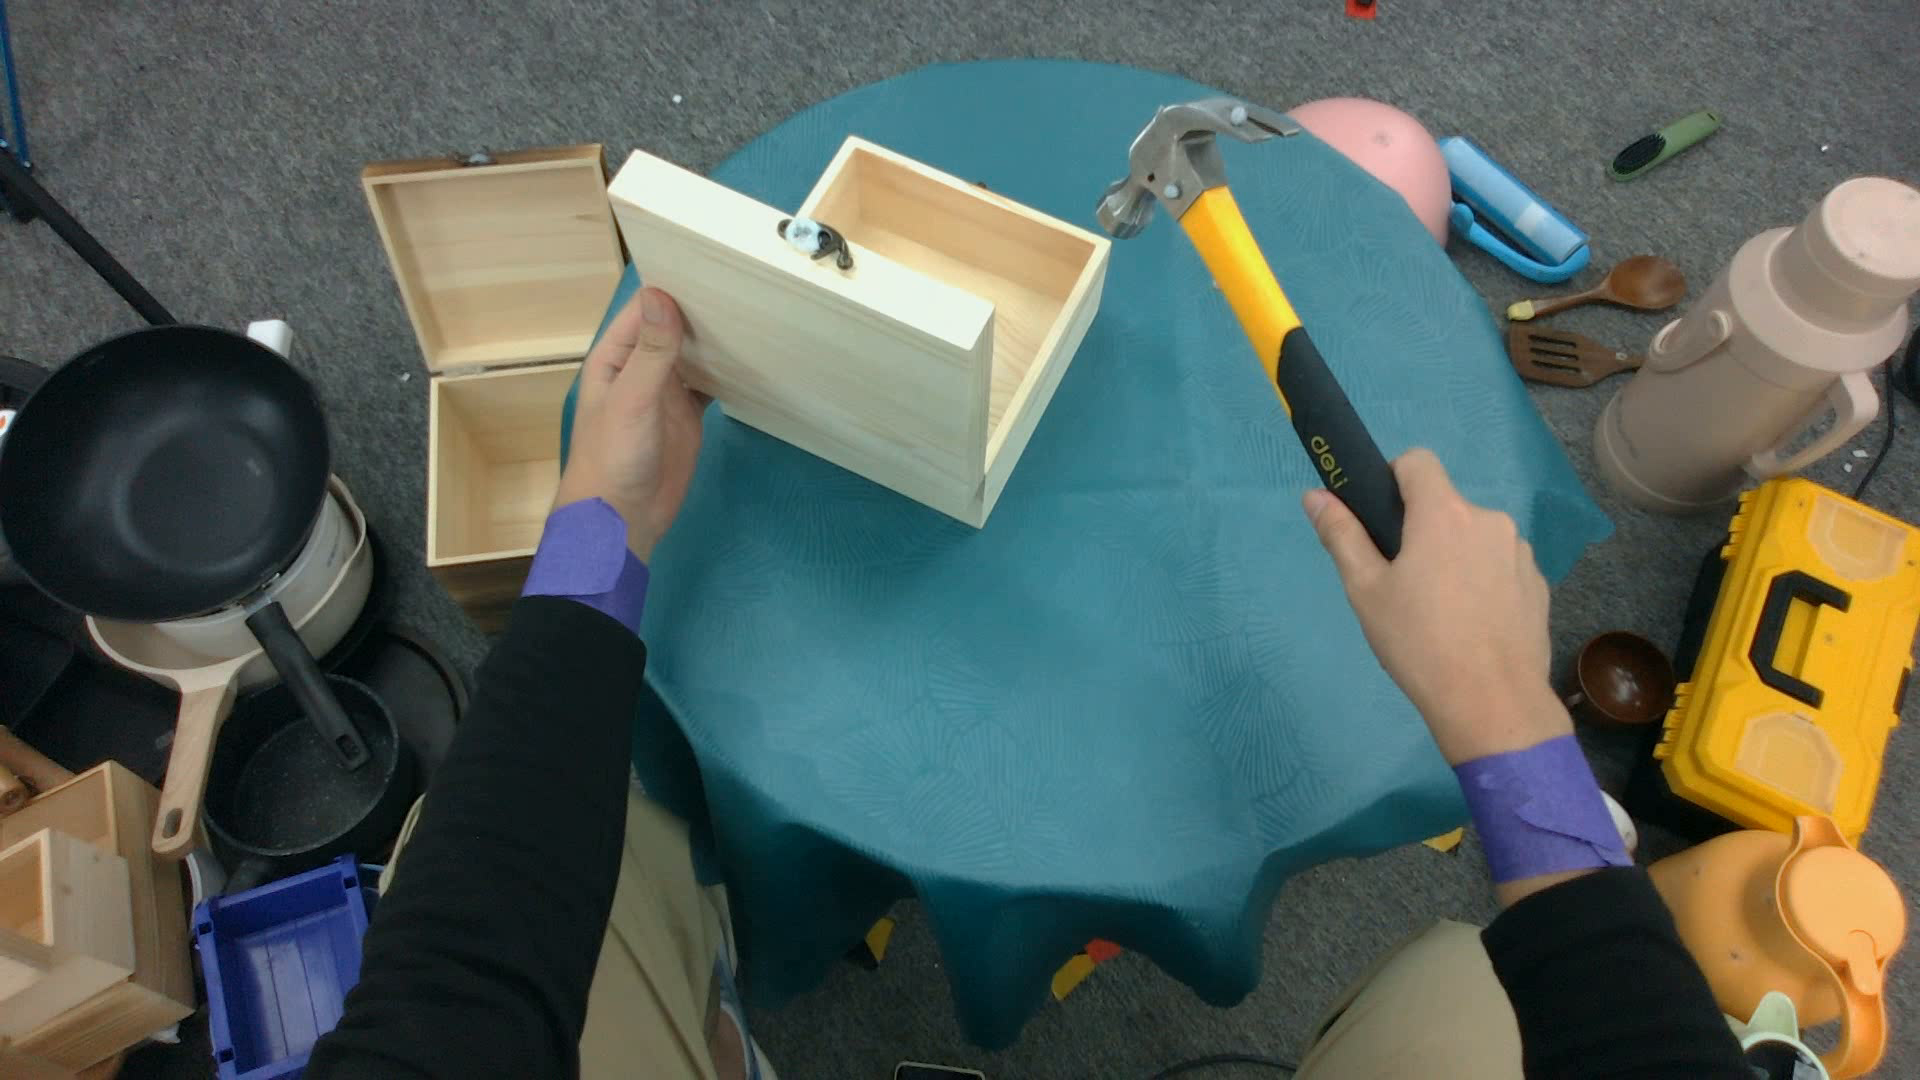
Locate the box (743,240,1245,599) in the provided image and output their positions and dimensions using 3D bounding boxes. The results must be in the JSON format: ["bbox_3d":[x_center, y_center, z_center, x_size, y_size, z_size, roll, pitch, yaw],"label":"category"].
[{"bbox_3d":[0.042,-0.090,0.763,0.181,0.252,0.266,13,64,15],"label":"box"}]

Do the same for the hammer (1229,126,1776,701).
[{"bbox_3d":[0.255,-0.066,0.663,0.032,0.131,0.339,-27,70,-21],"label":"hammer"}]
